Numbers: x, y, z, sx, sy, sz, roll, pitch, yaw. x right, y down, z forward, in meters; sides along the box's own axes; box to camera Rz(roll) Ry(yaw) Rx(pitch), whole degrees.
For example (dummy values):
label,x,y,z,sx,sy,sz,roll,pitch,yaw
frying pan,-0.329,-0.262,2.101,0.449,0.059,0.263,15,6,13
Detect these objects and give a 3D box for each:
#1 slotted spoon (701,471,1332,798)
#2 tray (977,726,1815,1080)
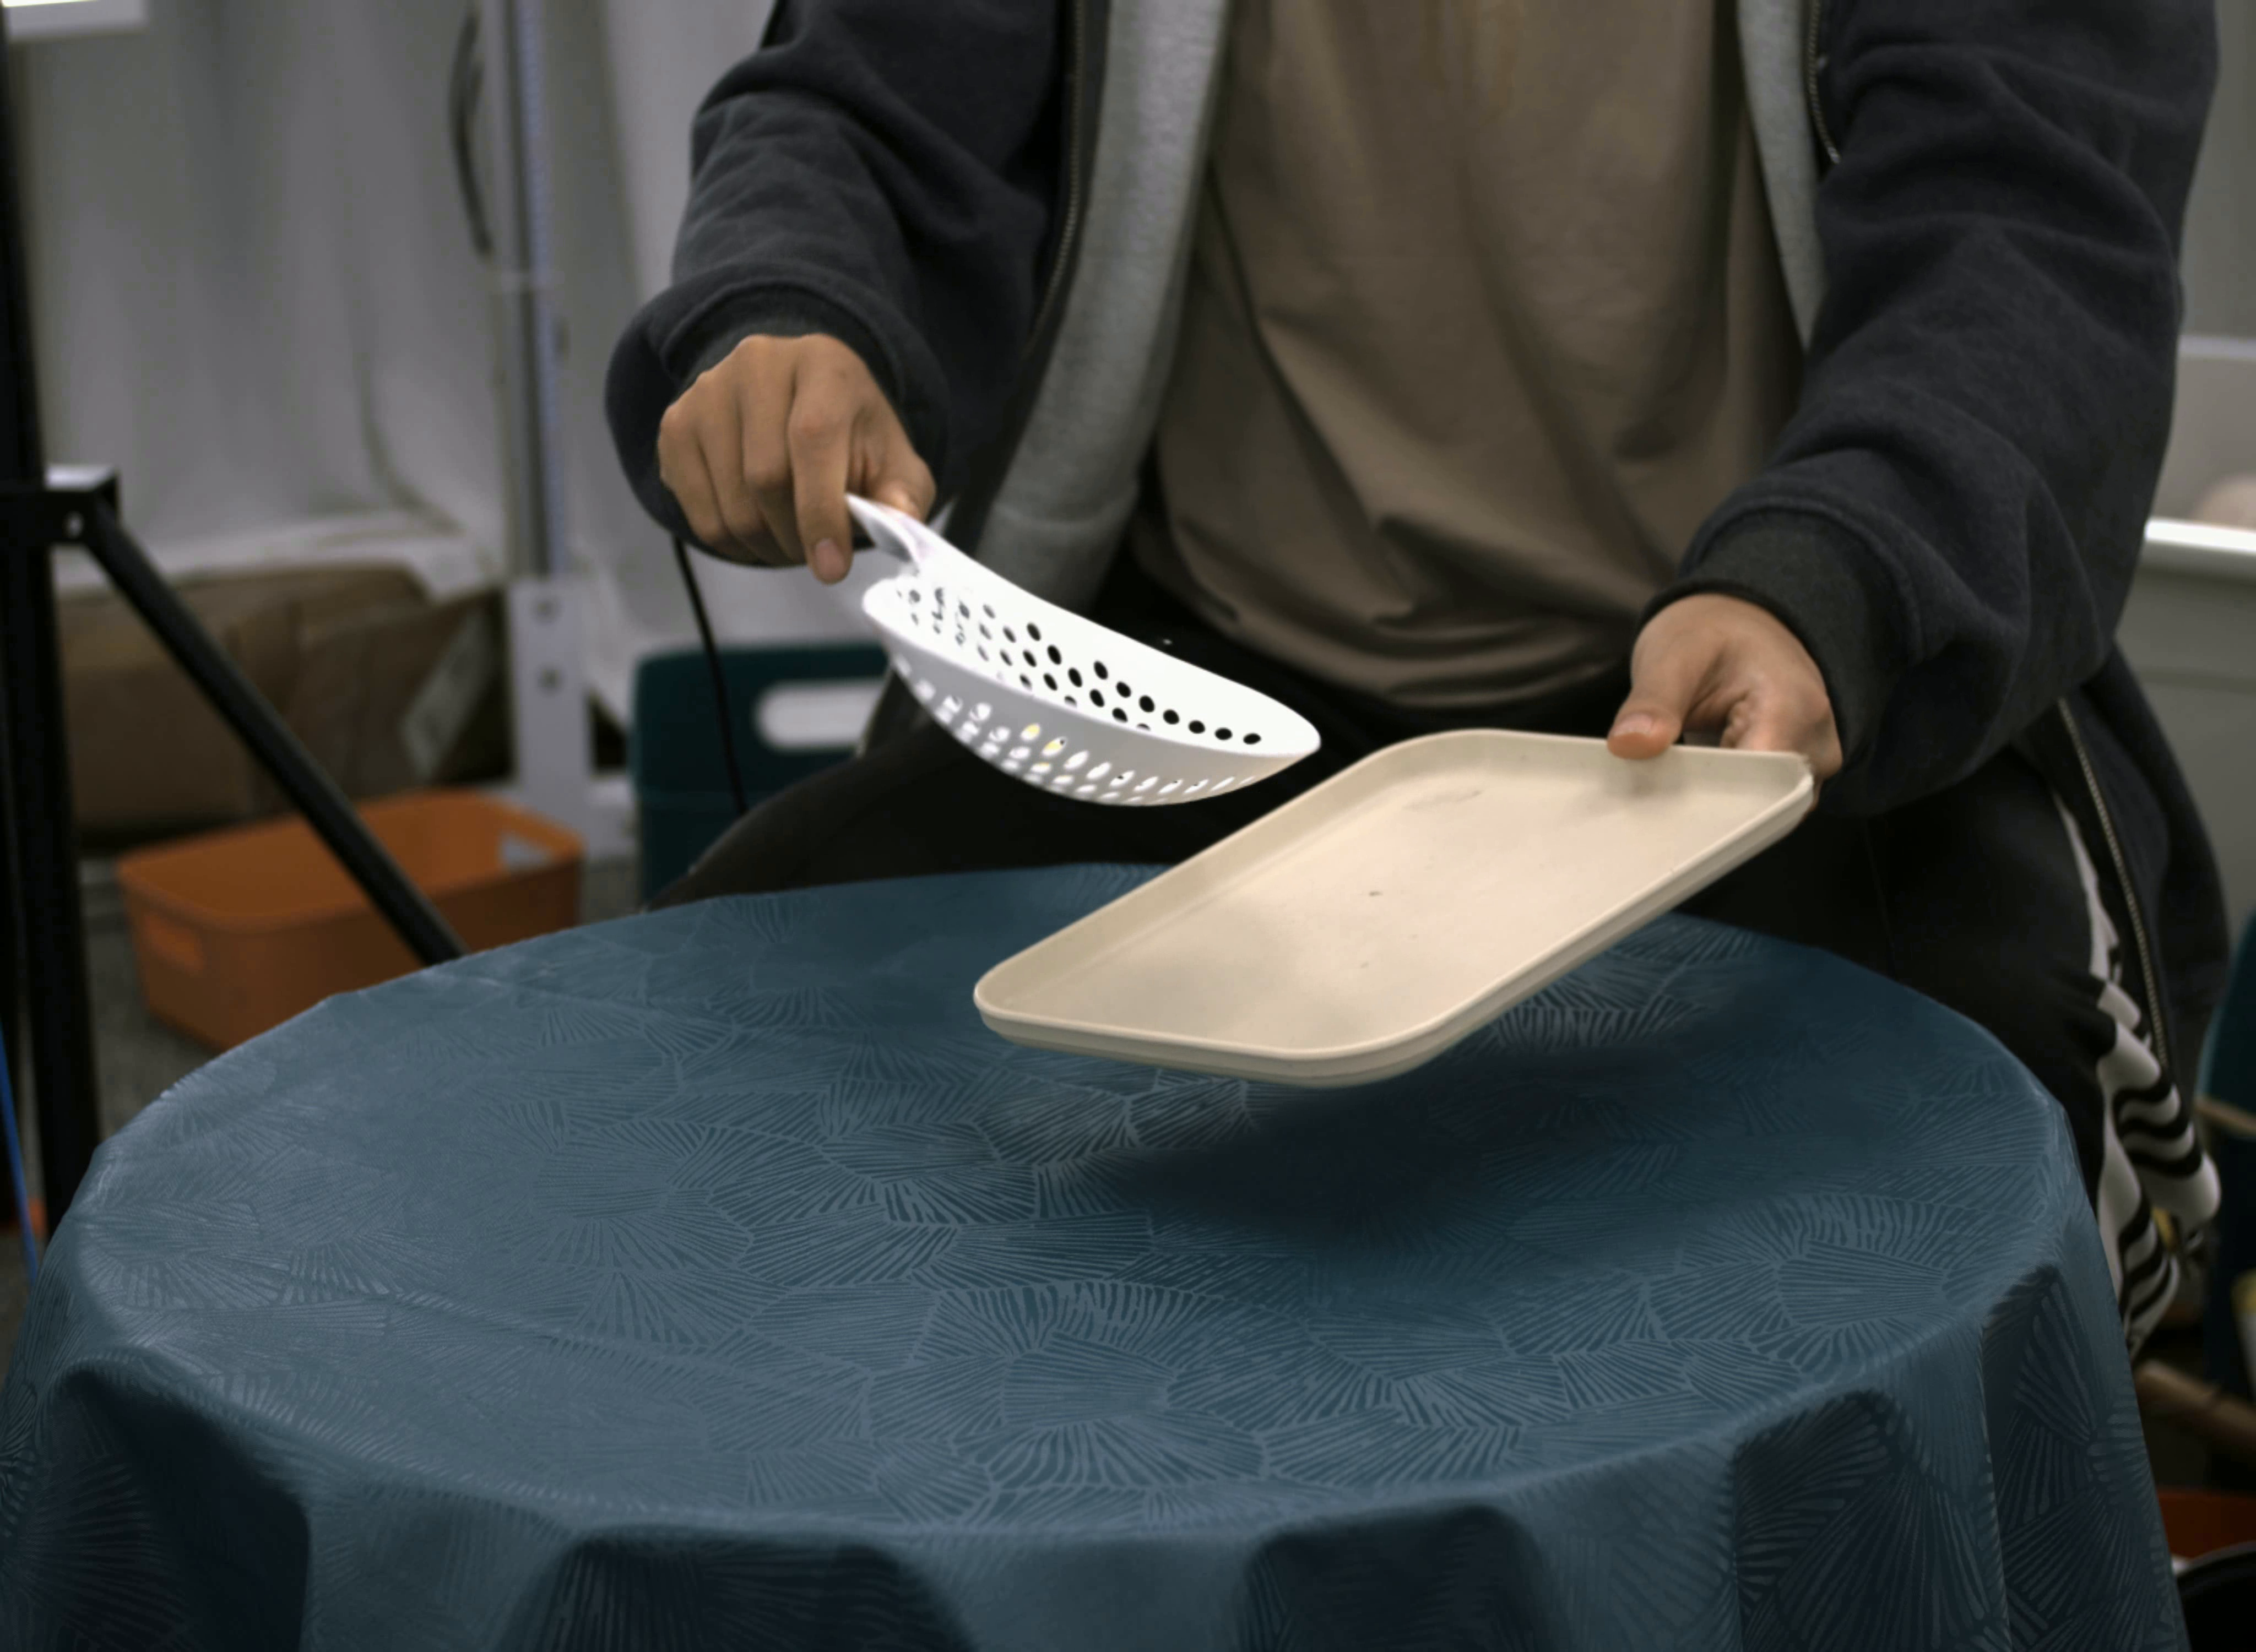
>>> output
label,x,y,z,sx,sy,sz,roll,pitch,yaw
slotted spoon,-0.056,-0.072,1.646,0.133,0.050,0.355,13,15,-28
tray,0.083,0.022,1.589,0.175,0.017,0.235,5,25,44
